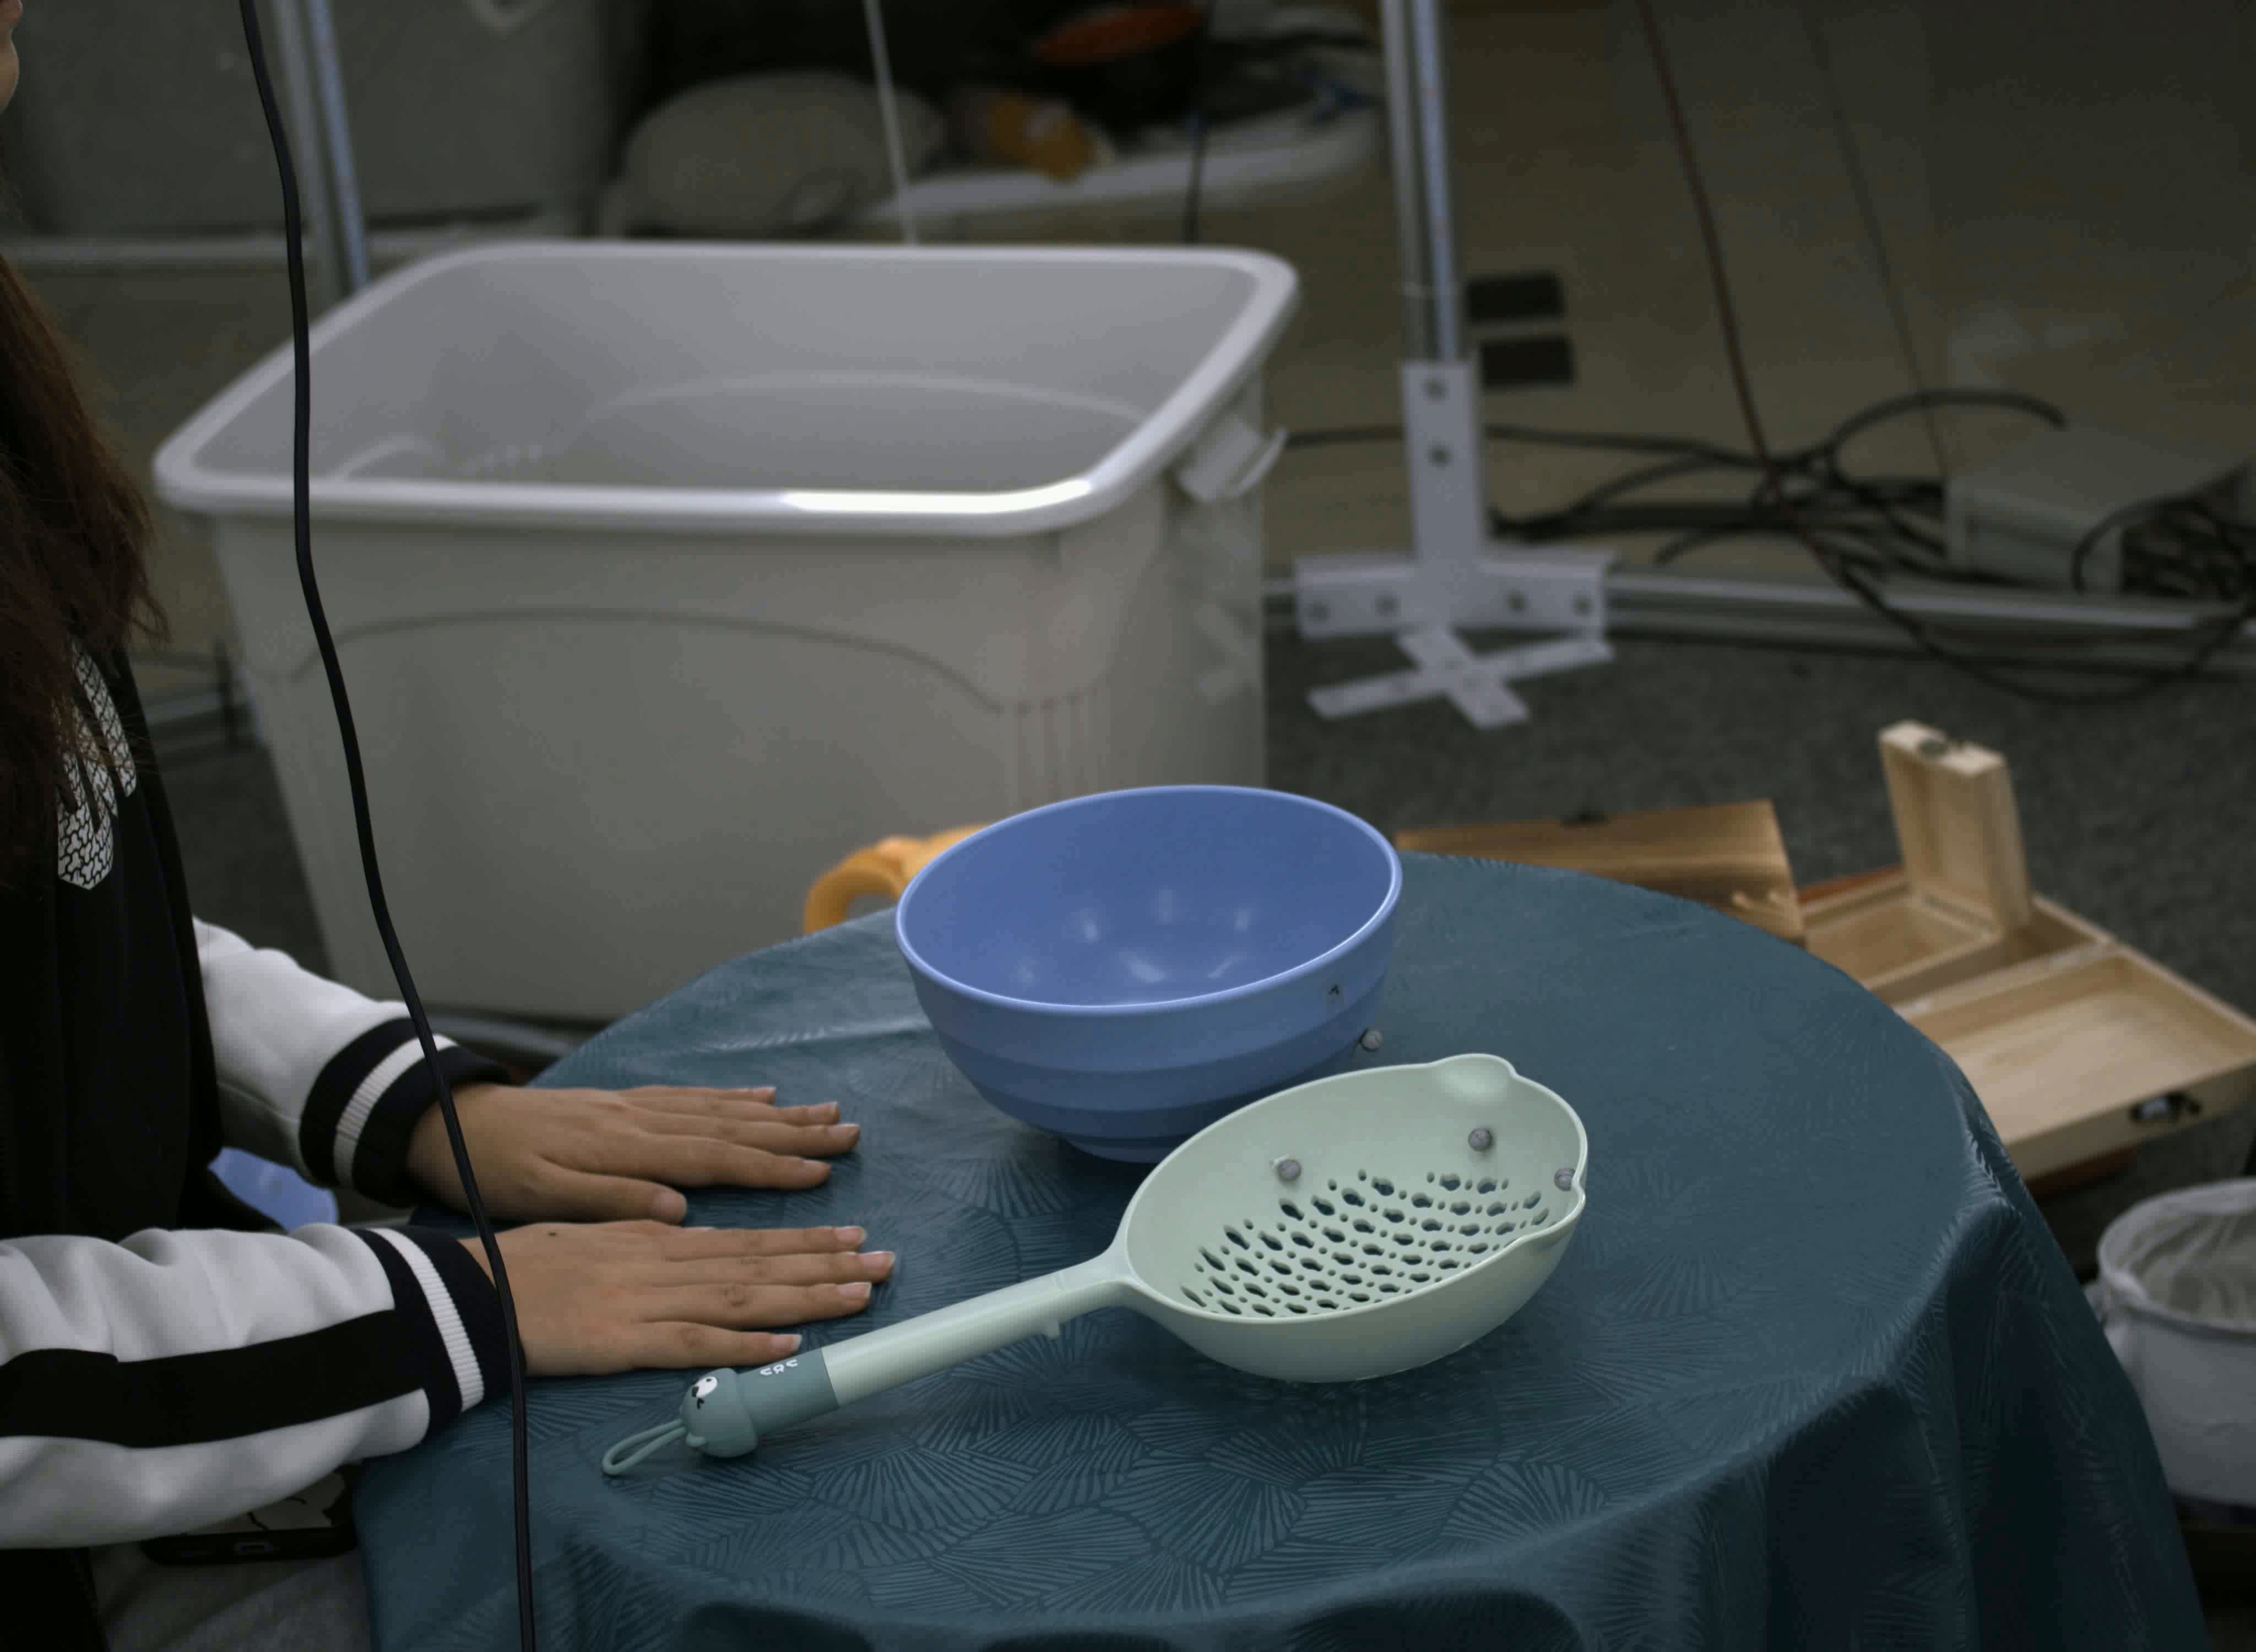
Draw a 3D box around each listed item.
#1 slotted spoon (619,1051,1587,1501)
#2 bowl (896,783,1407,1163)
[{"bbox_3d":[-0.010,0.171,2.014,0.358,0.076,0.167,-11,24,-6],"label":"slotted spoon"},{"bbox_3d":[0.013,0.067,2.184,0.196,0.097,0.193,-5,25,2],"label":"bowl"}]
